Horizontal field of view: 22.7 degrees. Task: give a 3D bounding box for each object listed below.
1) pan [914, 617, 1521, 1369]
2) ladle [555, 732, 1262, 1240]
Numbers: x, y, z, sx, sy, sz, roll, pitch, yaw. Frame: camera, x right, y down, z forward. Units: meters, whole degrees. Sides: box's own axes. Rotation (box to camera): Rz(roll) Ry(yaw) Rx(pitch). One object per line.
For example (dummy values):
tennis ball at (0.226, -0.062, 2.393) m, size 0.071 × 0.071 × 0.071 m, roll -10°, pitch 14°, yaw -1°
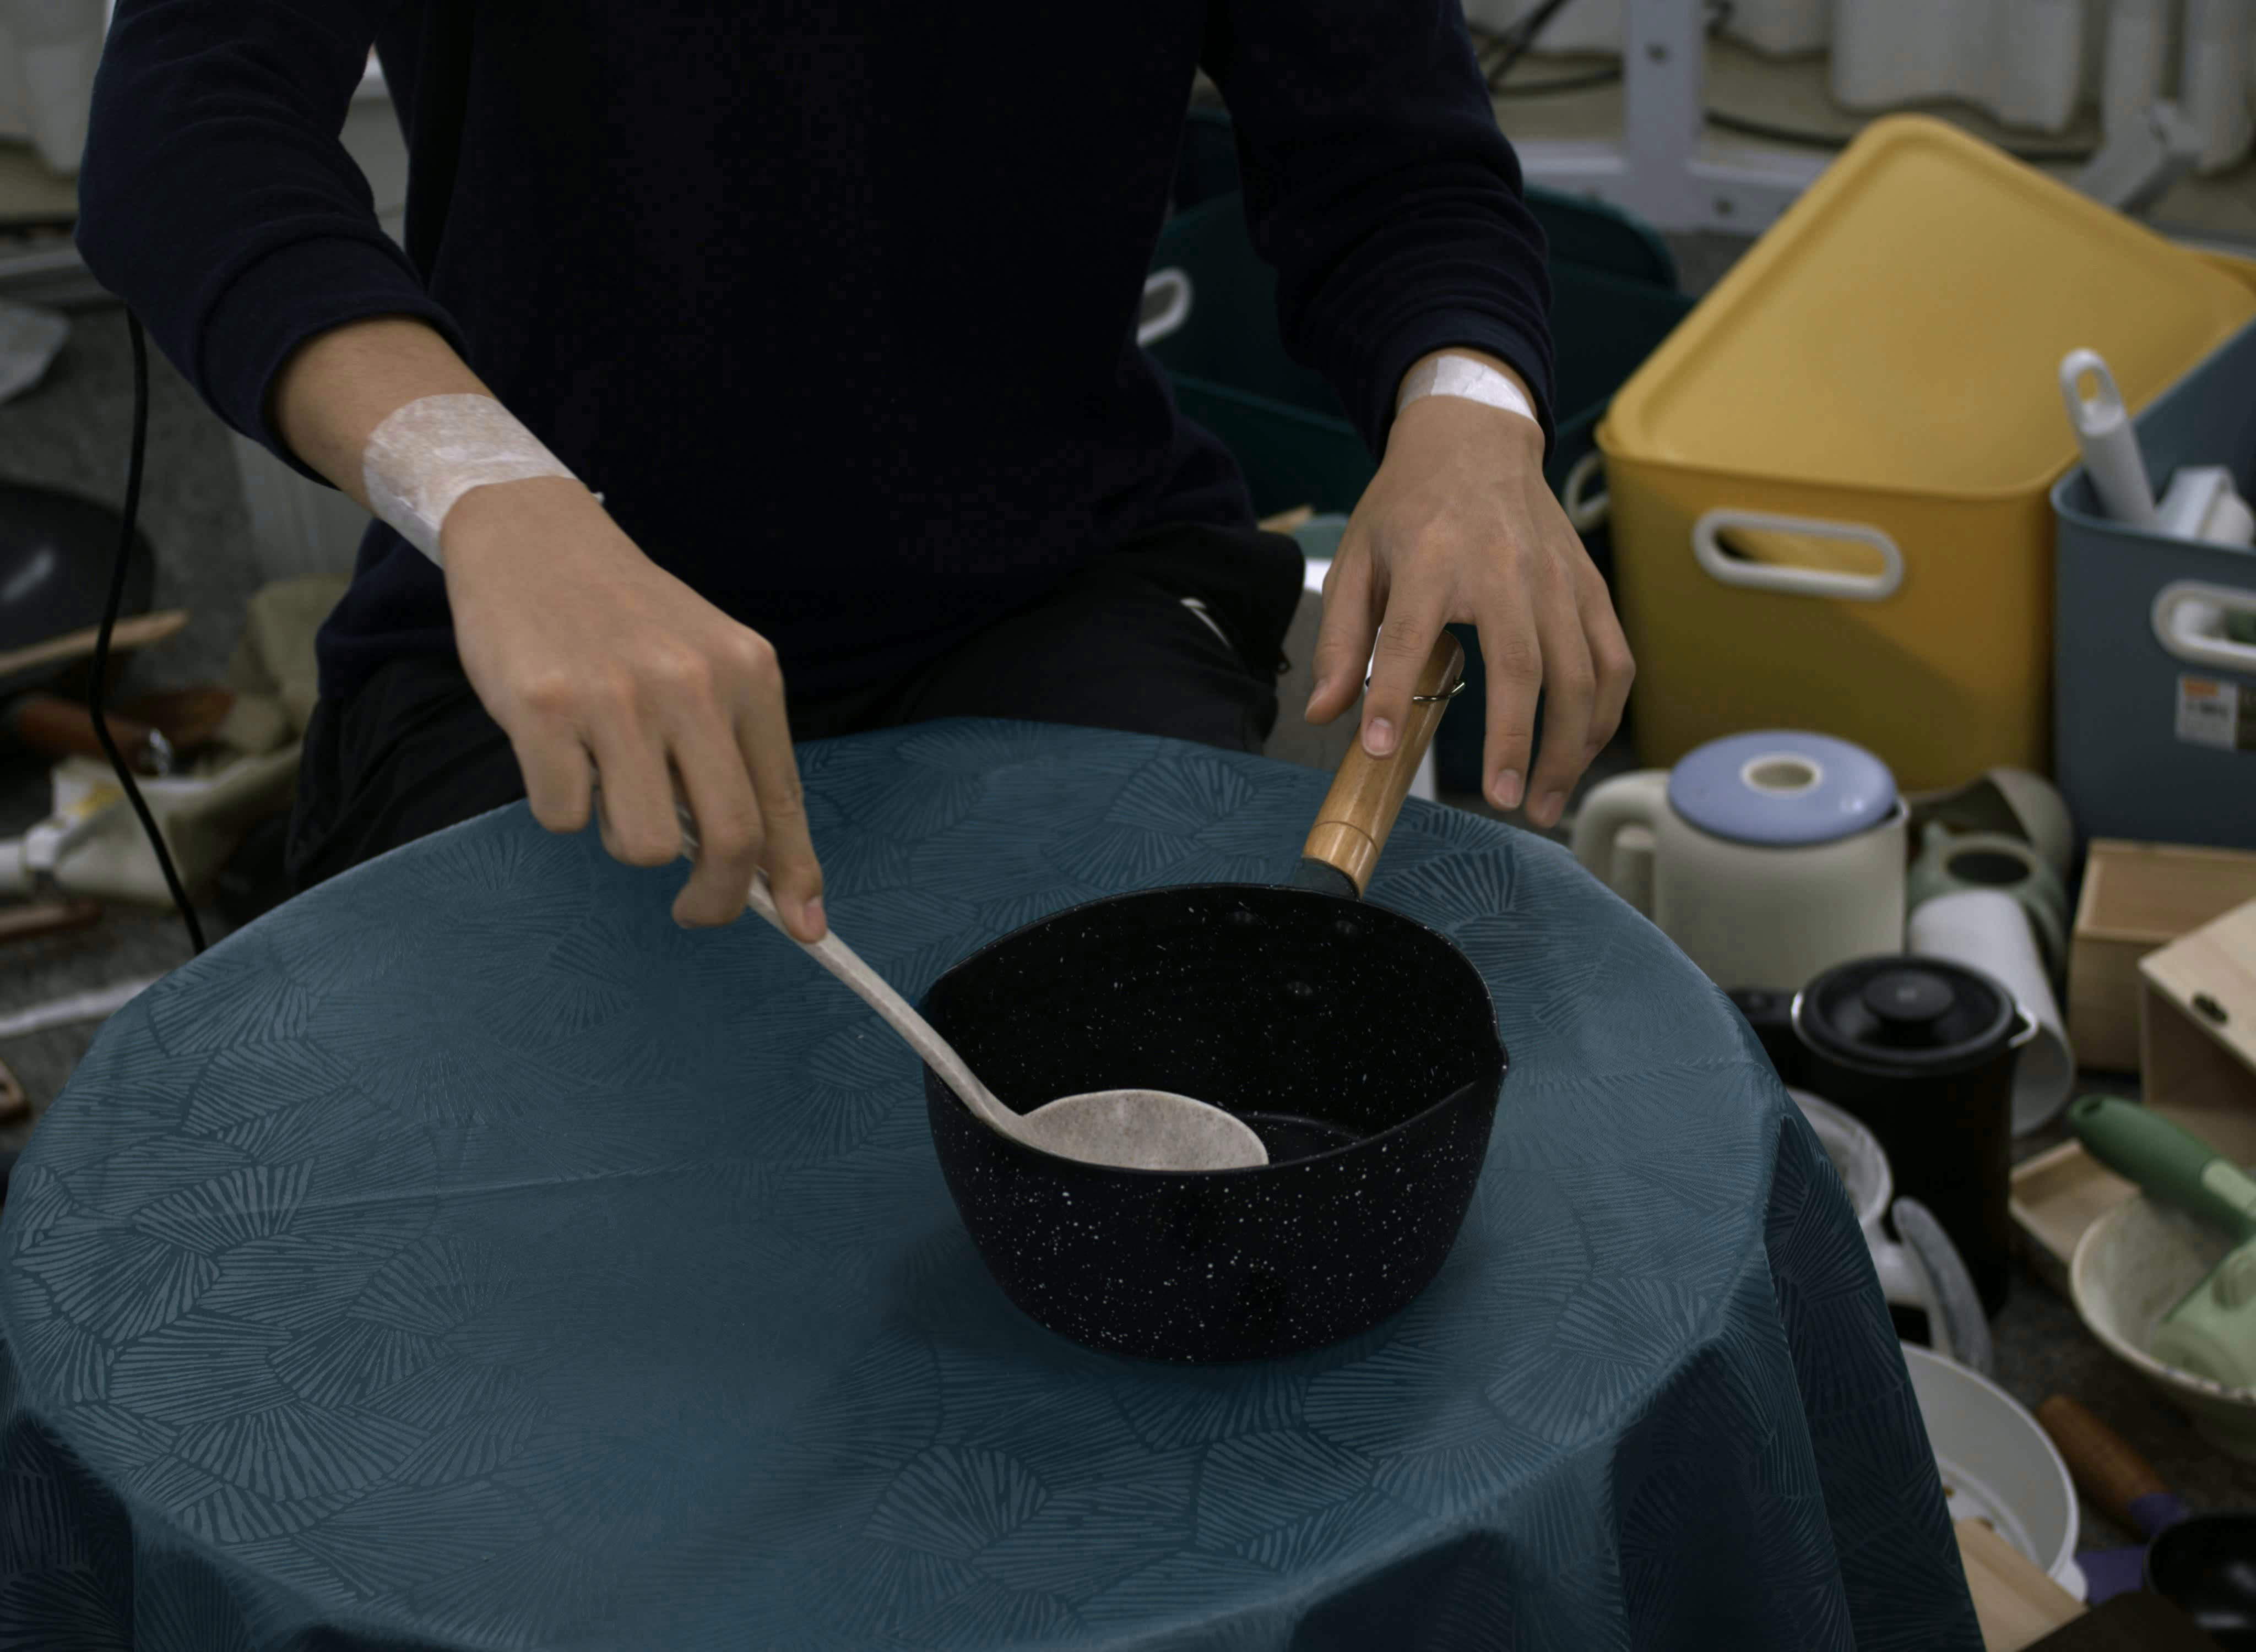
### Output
pan at (0.052, 0.052, 1.875) m, size 0.206 × 0.107 × 0.349 m, roll 5°, pitch 30°, yaw 18°
ladle at (-0.062, 0.041, 1.730) m, size 0.069 × 0.273 × 0.090 m, roll -37°, pitch 30°, yaw 12°
